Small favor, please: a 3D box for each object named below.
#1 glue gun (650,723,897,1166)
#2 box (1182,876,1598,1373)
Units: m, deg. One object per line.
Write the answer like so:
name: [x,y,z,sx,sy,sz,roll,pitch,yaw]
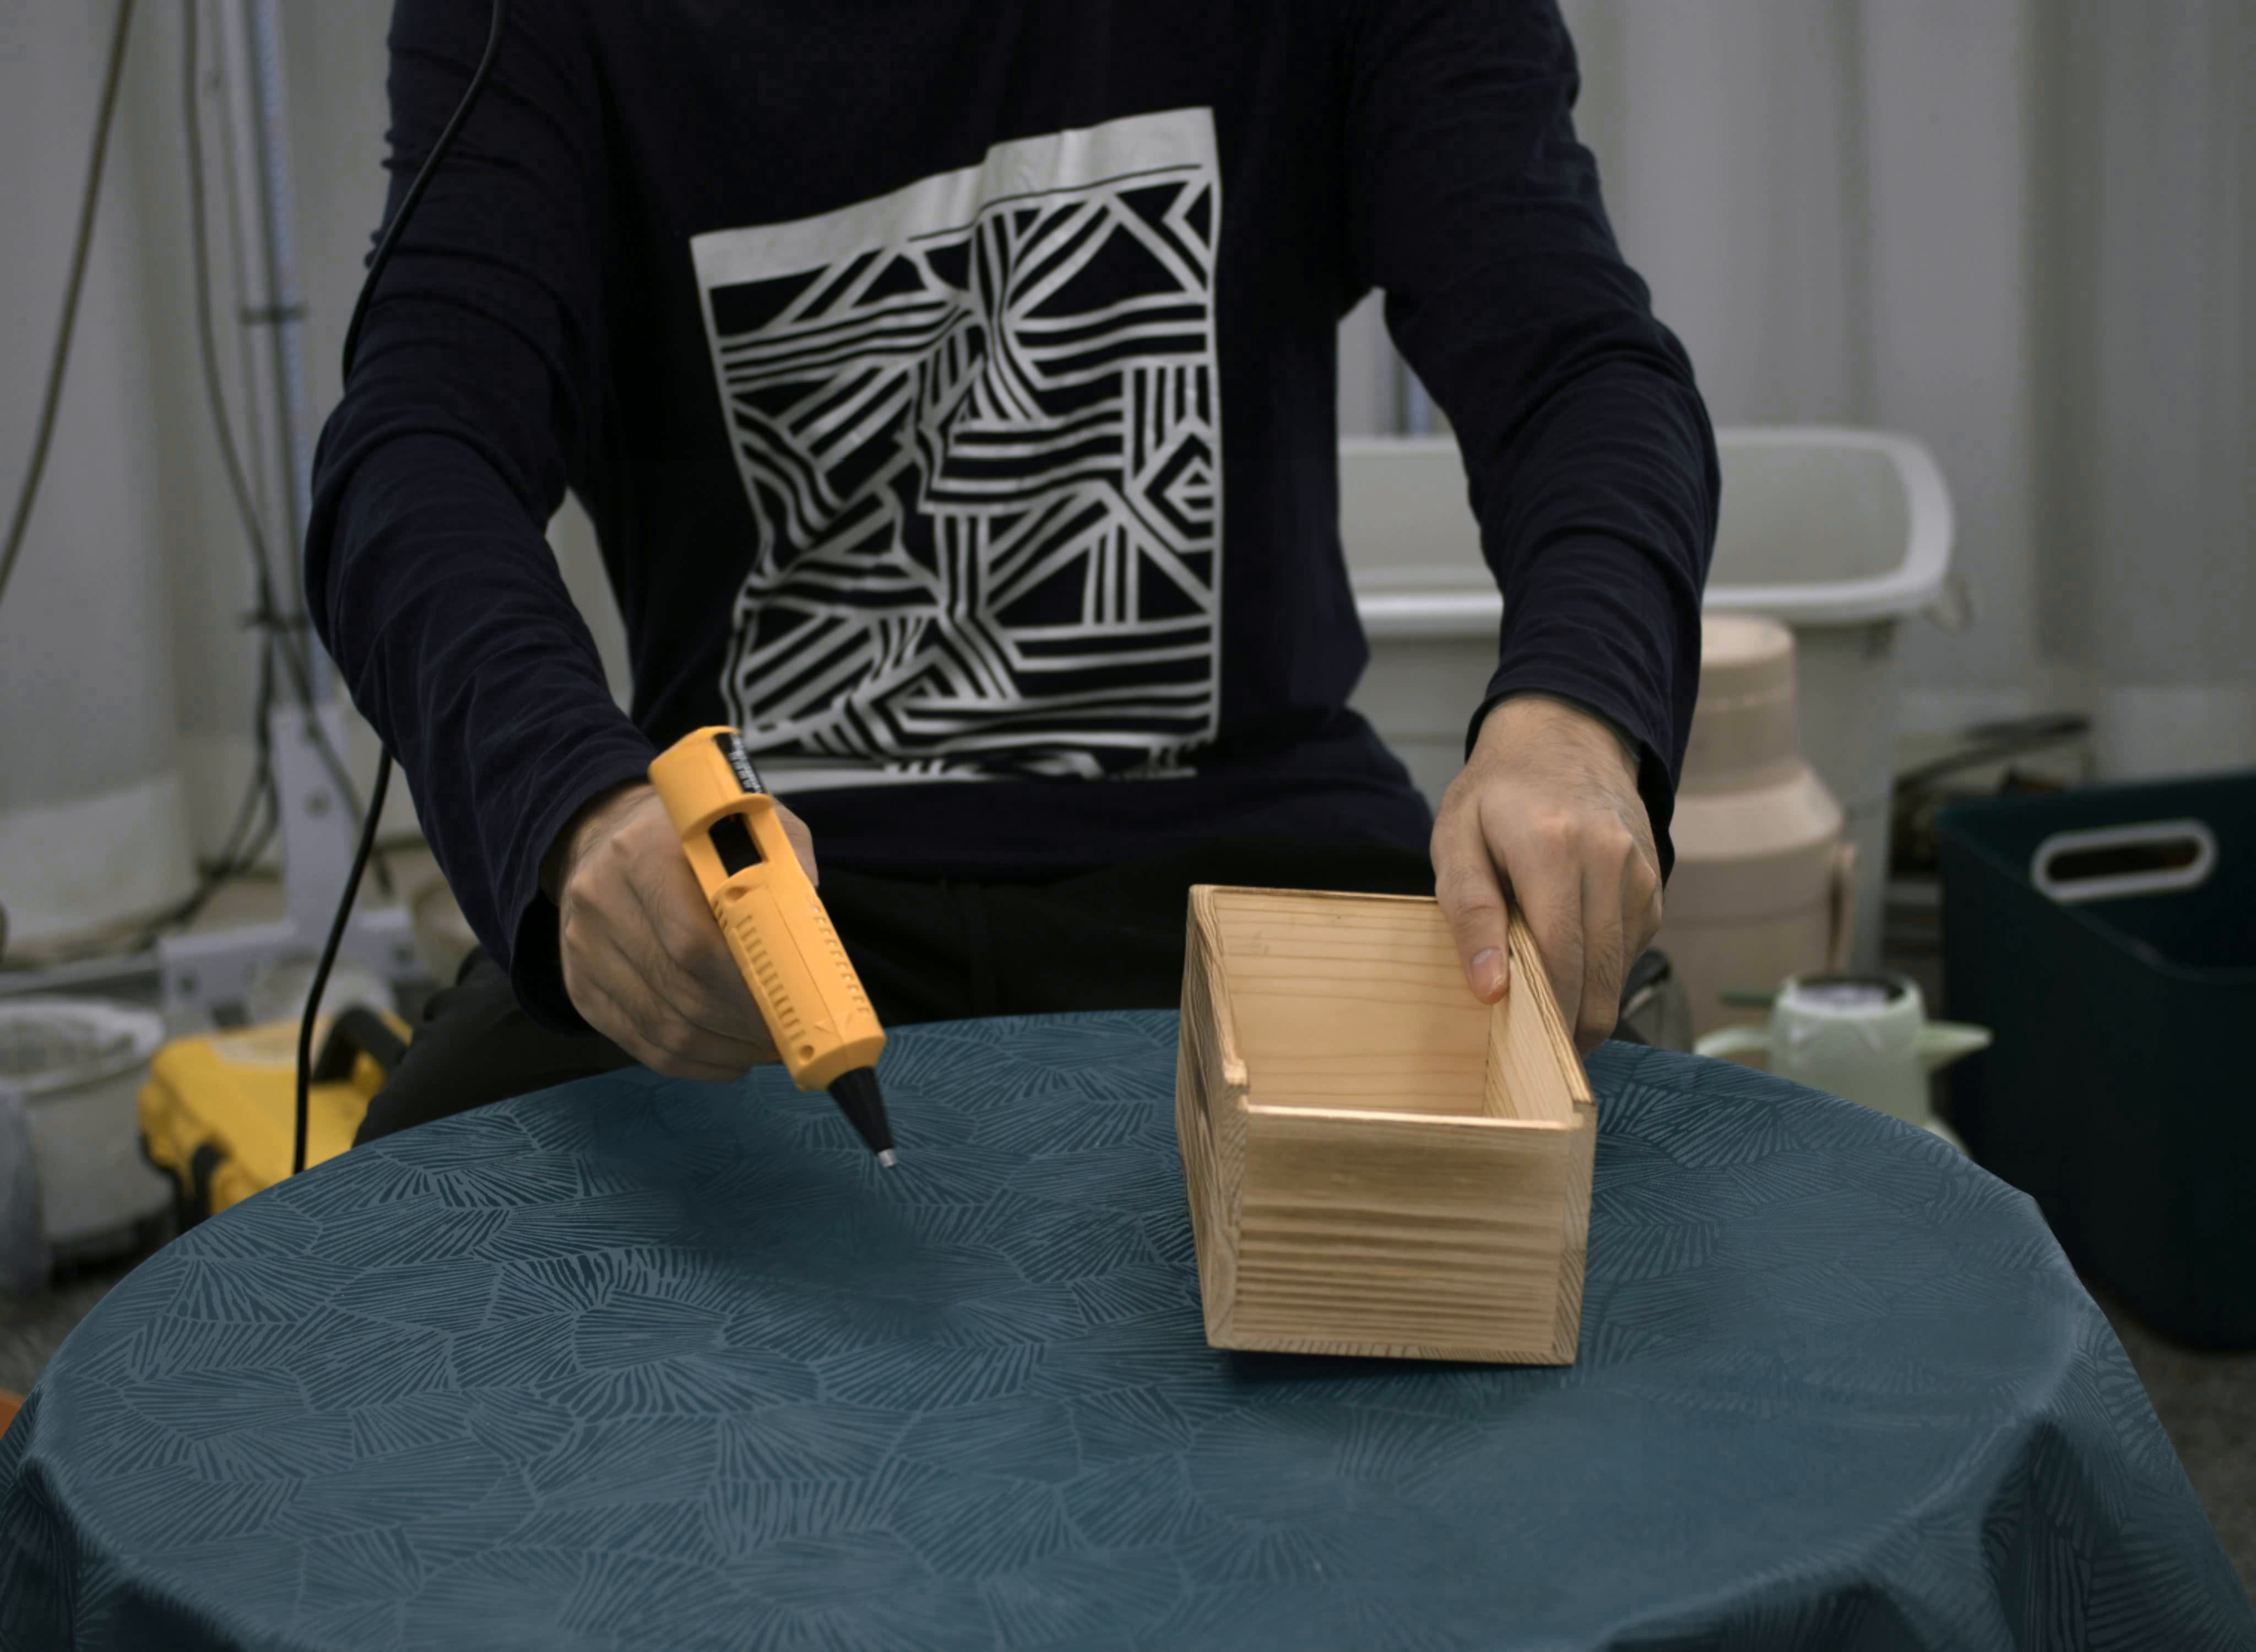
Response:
glue gun: [-0.104,0.059,1.682,0.031,0.153,0.131,-21,-26,-15]
box: [0.074,0.085,1.636,0.107,0.080,0.213,4,15,-2]
